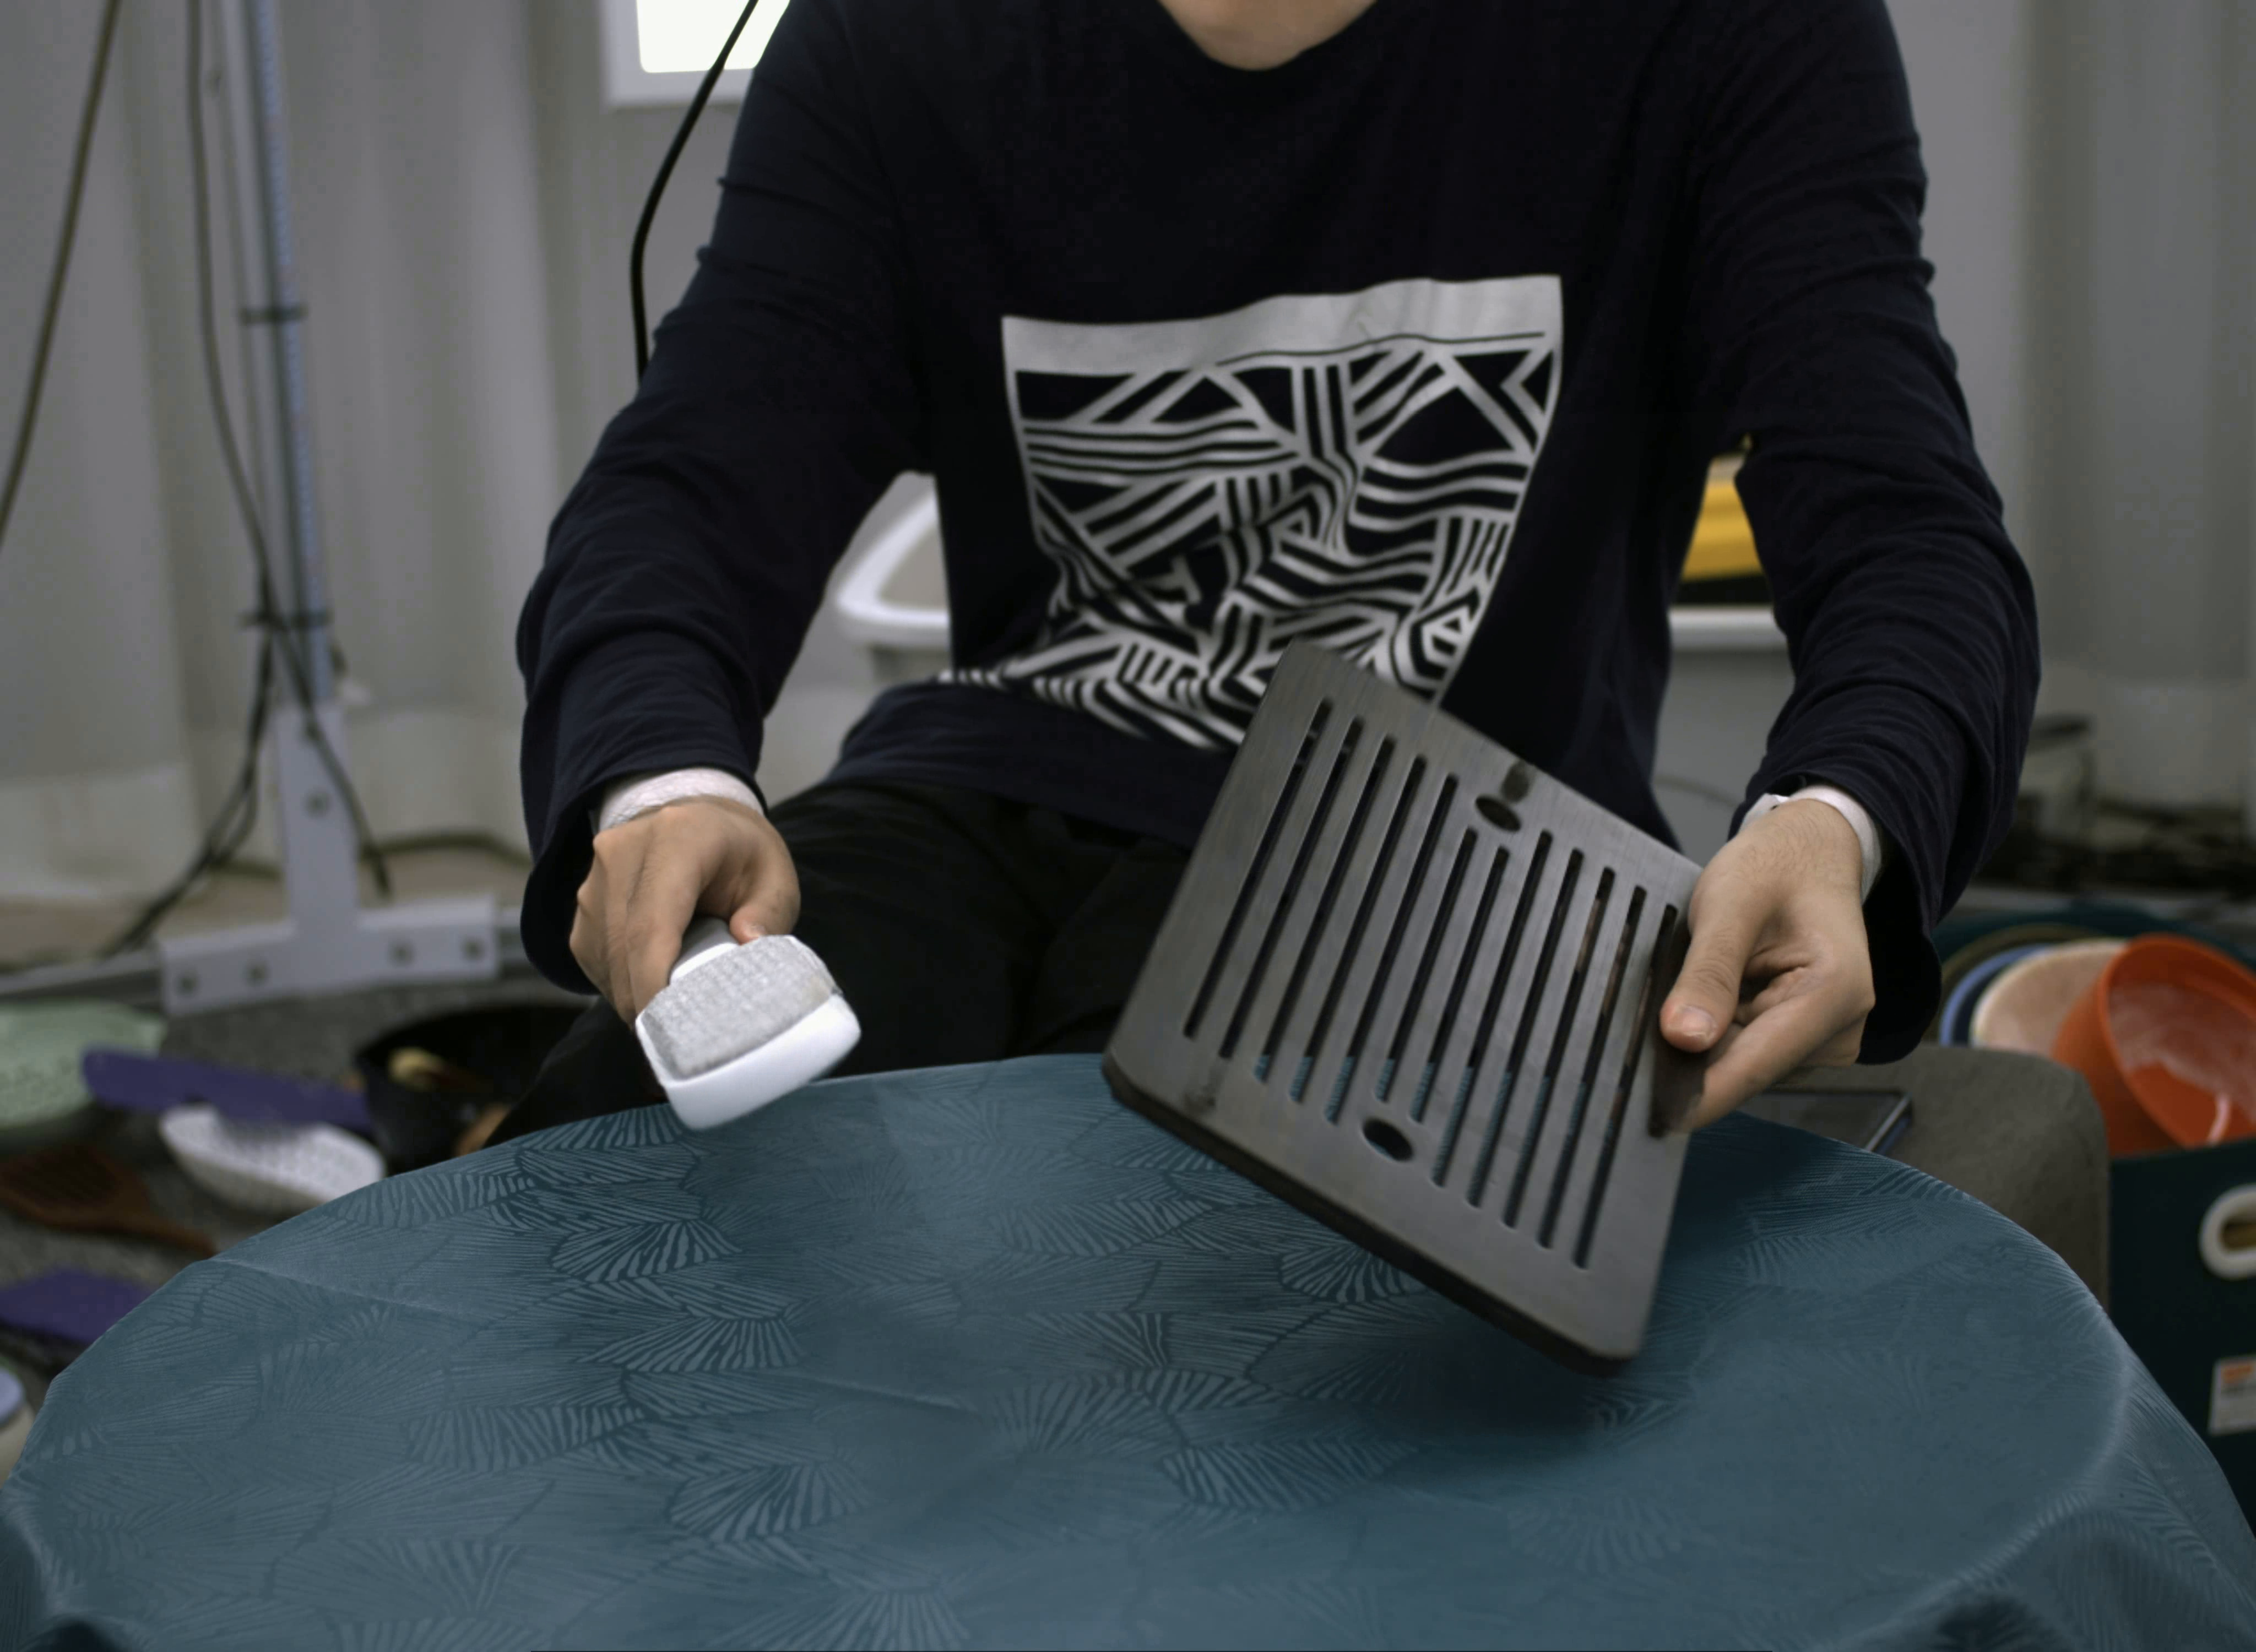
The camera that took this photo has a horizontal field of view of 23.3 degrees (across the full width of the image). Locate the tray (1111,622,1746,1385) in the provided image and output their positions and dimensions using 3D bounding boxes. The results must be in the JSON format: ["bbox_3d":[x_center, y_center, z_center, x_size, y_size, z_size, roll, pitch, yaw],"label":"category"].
[{"bbox_3d":[0.094,0.047,1.626,0.170,0.018,0.308,32,28,-3],"label":"tray"}]

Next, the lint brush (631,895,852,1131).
[{"bbox_3d":[-0.121,0.049,1.633,0.060,0.021,0.310,-33,10,-4],"label":"lint brush"}]
